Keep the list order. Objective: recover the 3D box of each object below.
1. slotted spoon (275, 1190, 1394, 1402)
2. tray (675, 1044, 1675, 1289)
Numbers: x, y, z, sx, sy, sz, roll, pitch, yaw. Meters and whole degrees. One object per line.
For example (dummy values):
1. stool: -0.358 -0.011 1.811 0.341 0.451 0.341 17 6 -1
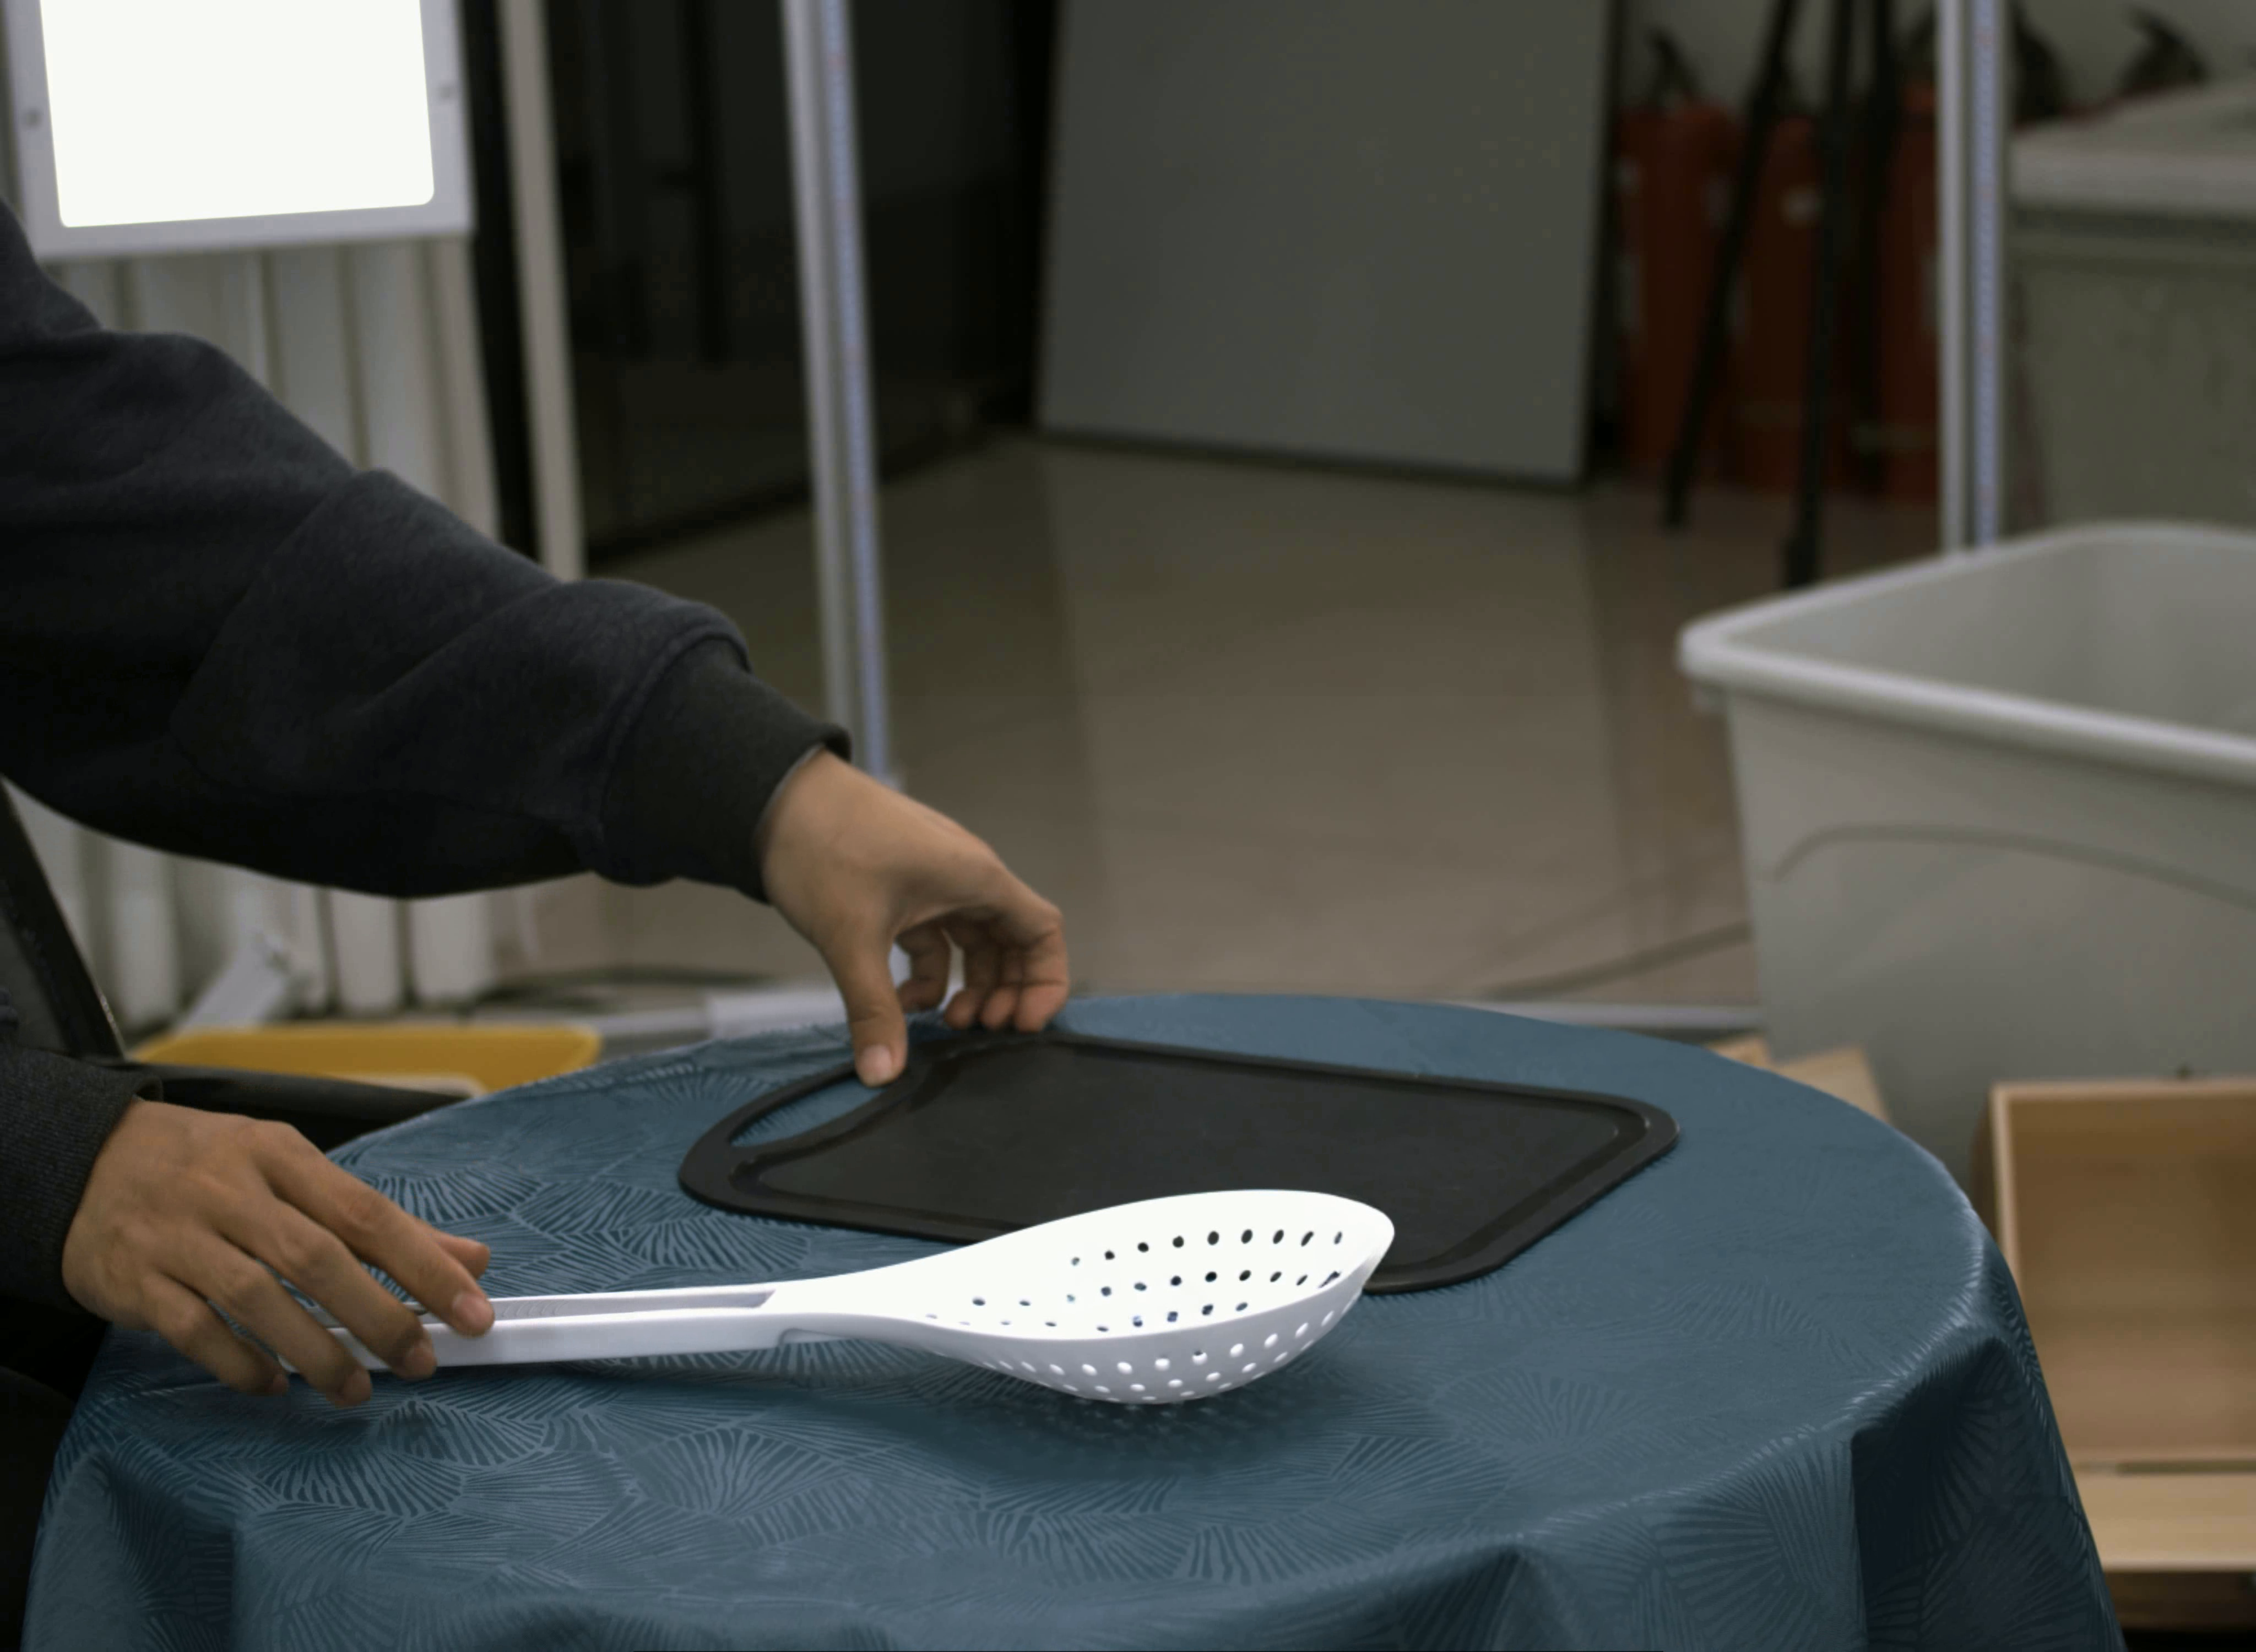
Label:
1. slotted spoon: -0.090 0.144 1.604 0.348 0.046 0.135 -1 12 15
2. tray: 0.008 0.110 1.802 0.327 0.010 0.208 5 16 32
